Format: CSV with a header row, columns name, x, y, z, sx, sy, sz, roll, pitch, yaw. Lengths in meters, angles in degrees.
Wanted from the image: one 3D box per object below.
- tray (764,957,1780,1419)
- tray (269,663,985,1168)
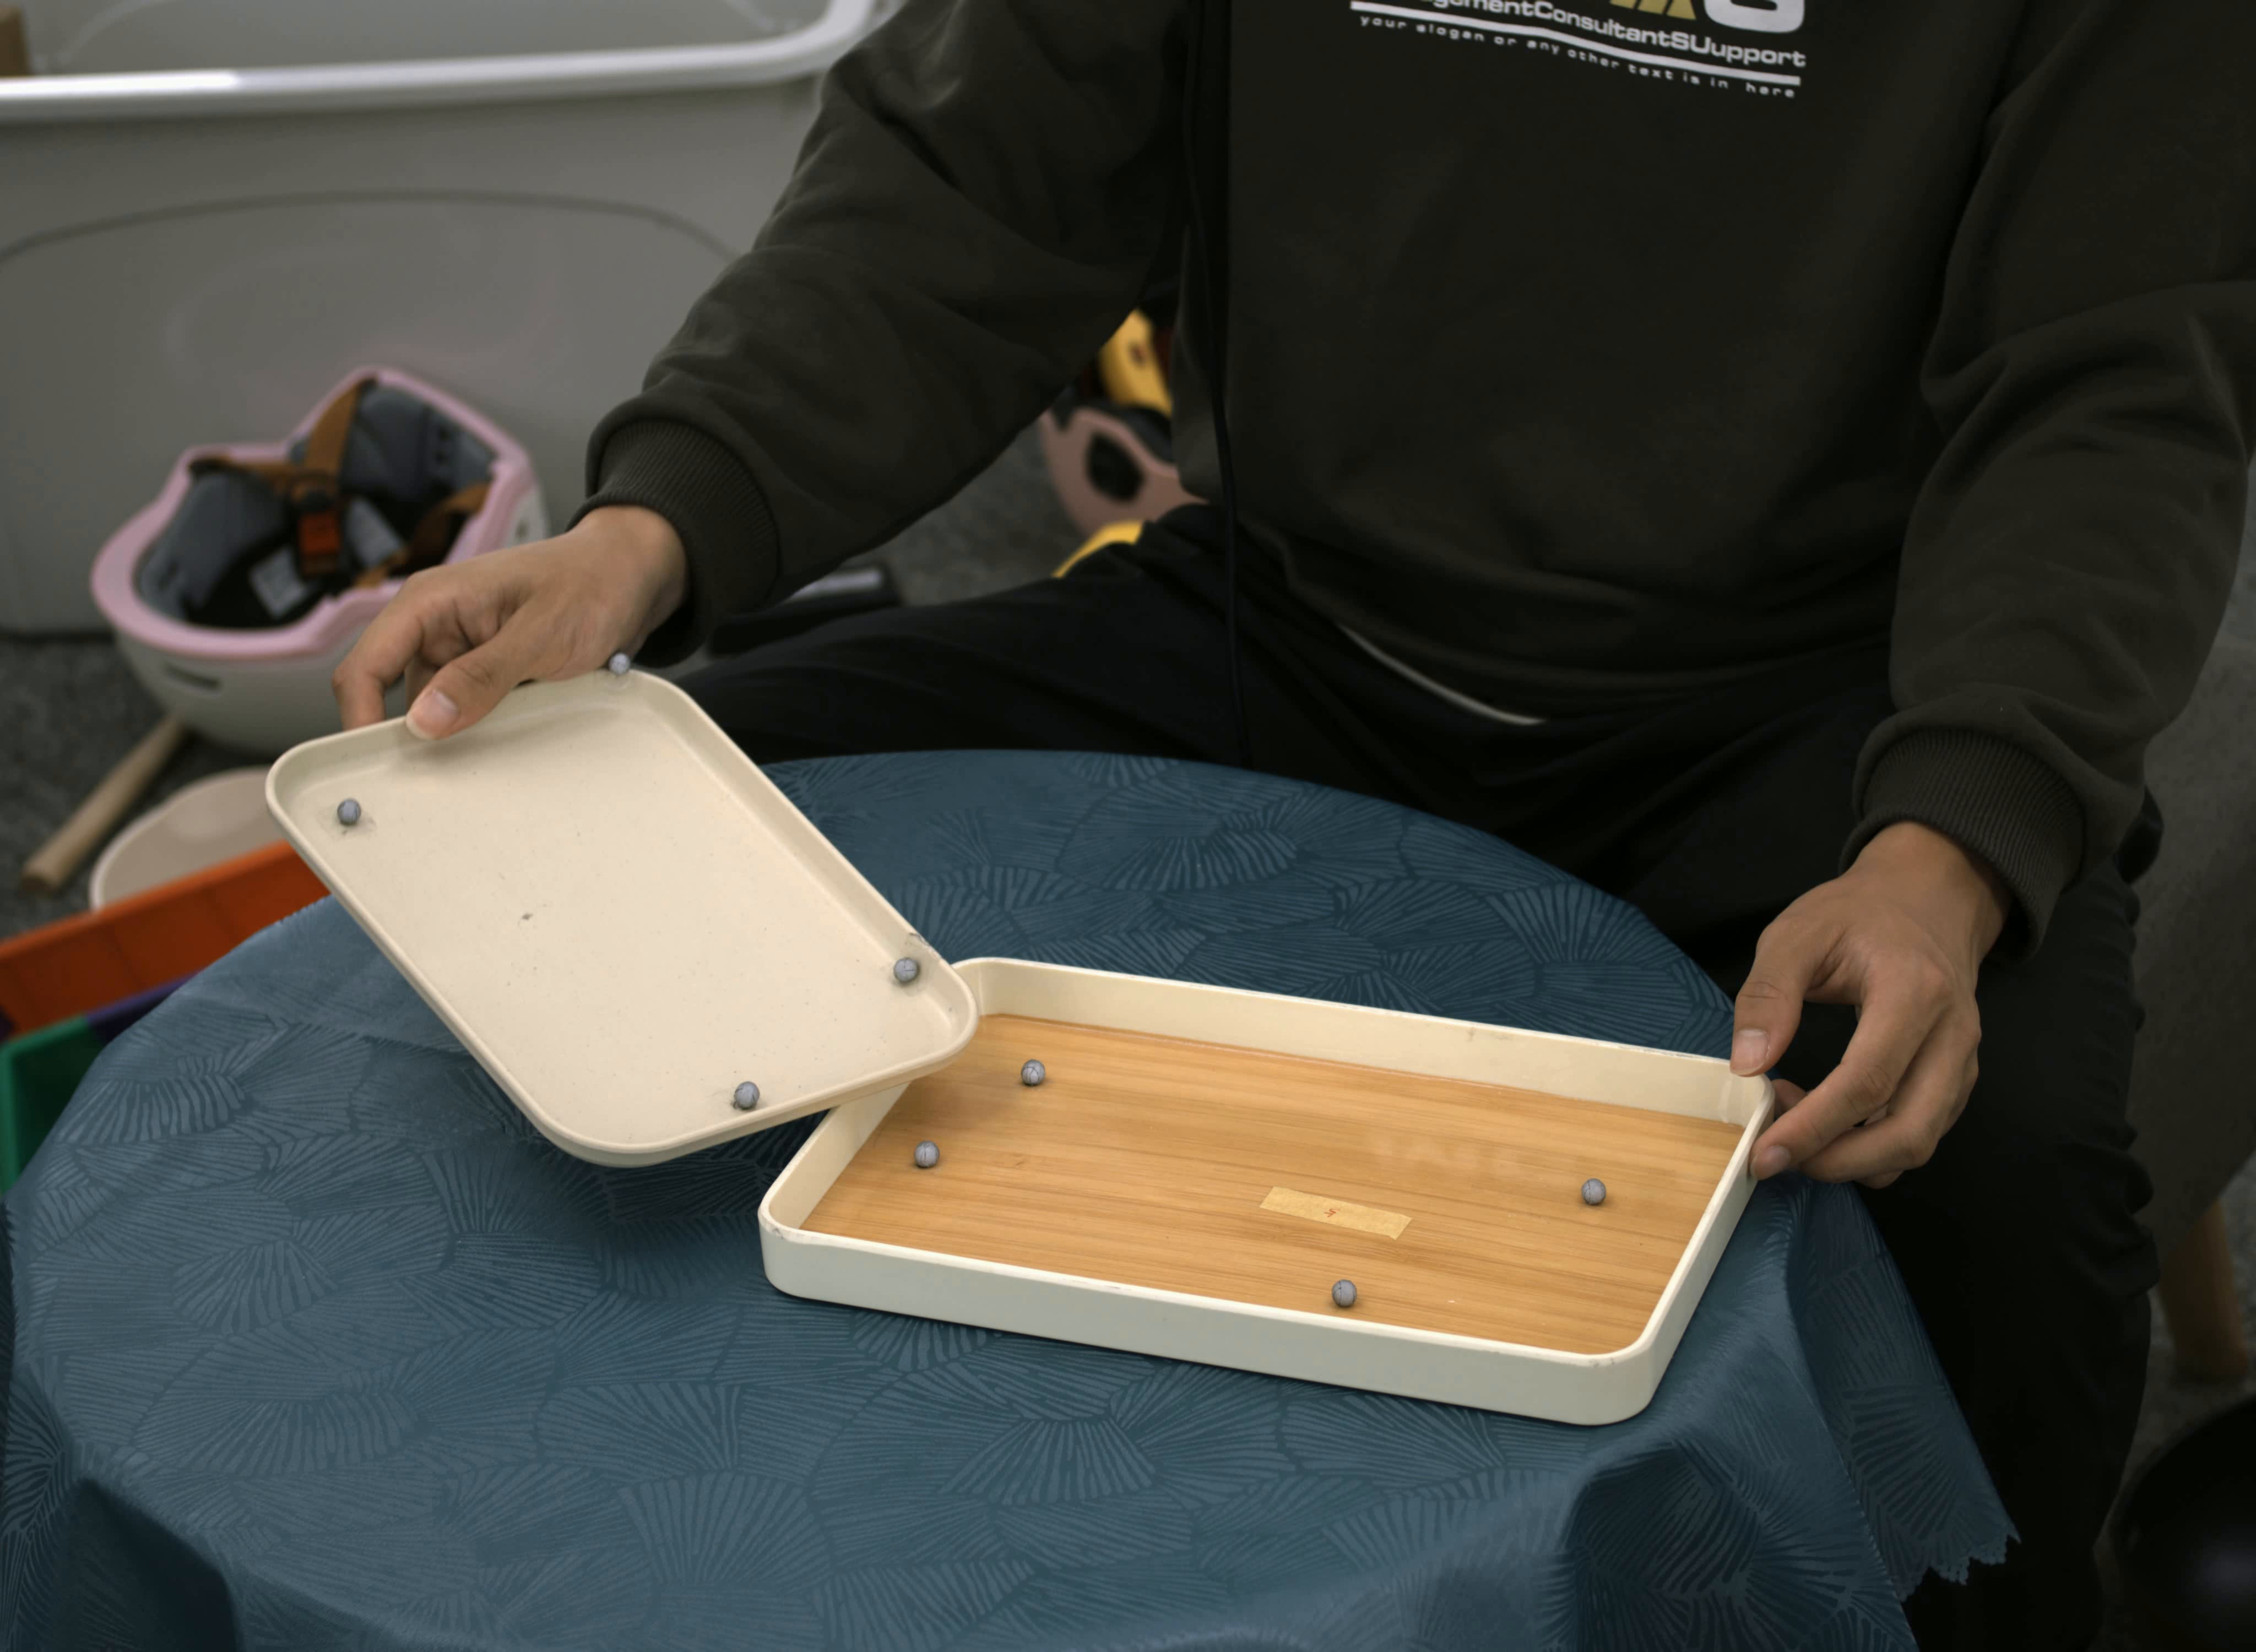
name,x,y,z,sx,sy,sz,roll,pitch,yaw
tray,0.049,0.115,1.845,0.298,0.027,0.195,8,29,18
tray,-0.173,0.029,1.923,0.172,0.017,0.241,-16,44,-34
